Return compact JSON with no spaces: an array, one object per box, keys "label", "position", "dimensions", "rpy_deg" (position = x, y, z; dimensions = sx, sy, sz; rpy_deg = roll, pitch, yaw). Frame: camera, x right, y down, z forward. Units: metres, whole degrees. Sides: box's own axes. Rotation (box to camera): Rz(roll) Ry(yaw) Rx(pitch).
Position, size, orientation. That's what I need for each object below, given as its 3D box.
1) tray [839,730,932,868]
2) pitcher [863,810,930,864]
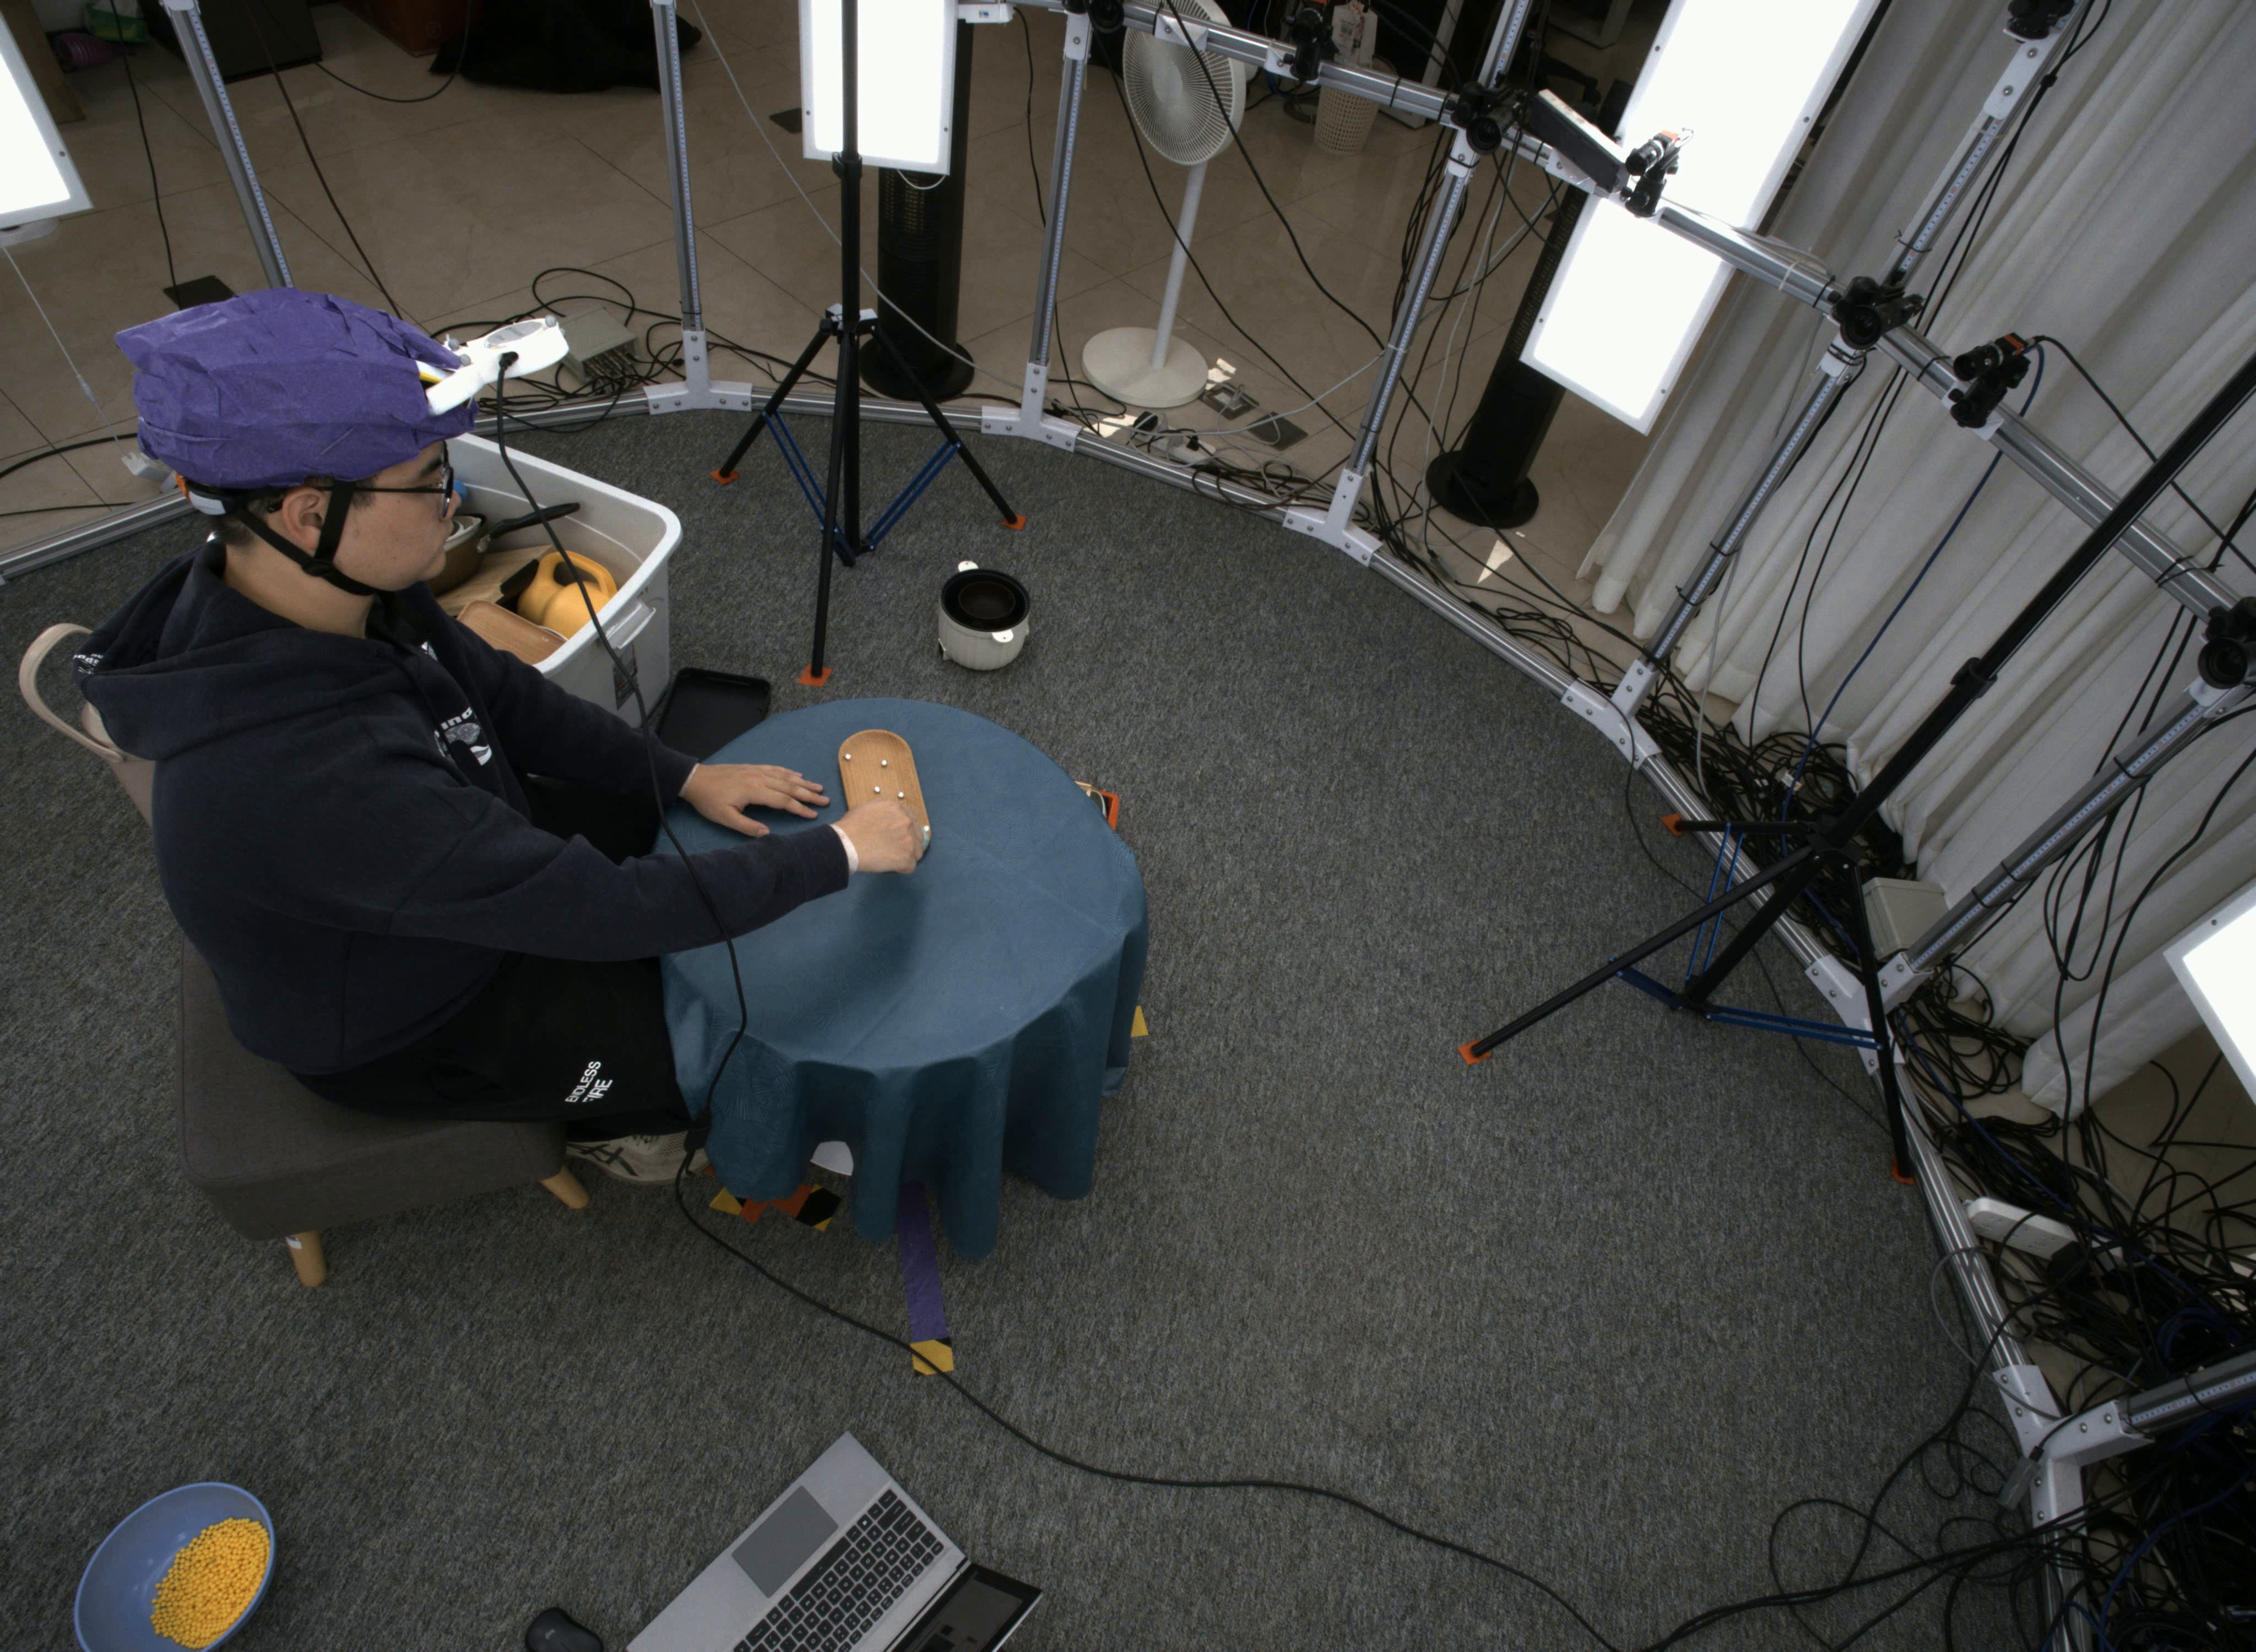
[{"label":"tray","position":[-0.331,-0.040,1.763],"dimensions":[0.102,0.021,0.226],"rpy_deg":[-9,59,-18]},{"label":"pitcher","position":[-0.290,0.012,1.625],"dimensions":[0.086,0.106,0.061],"rpy_deg":[-11,89,-18]}]
